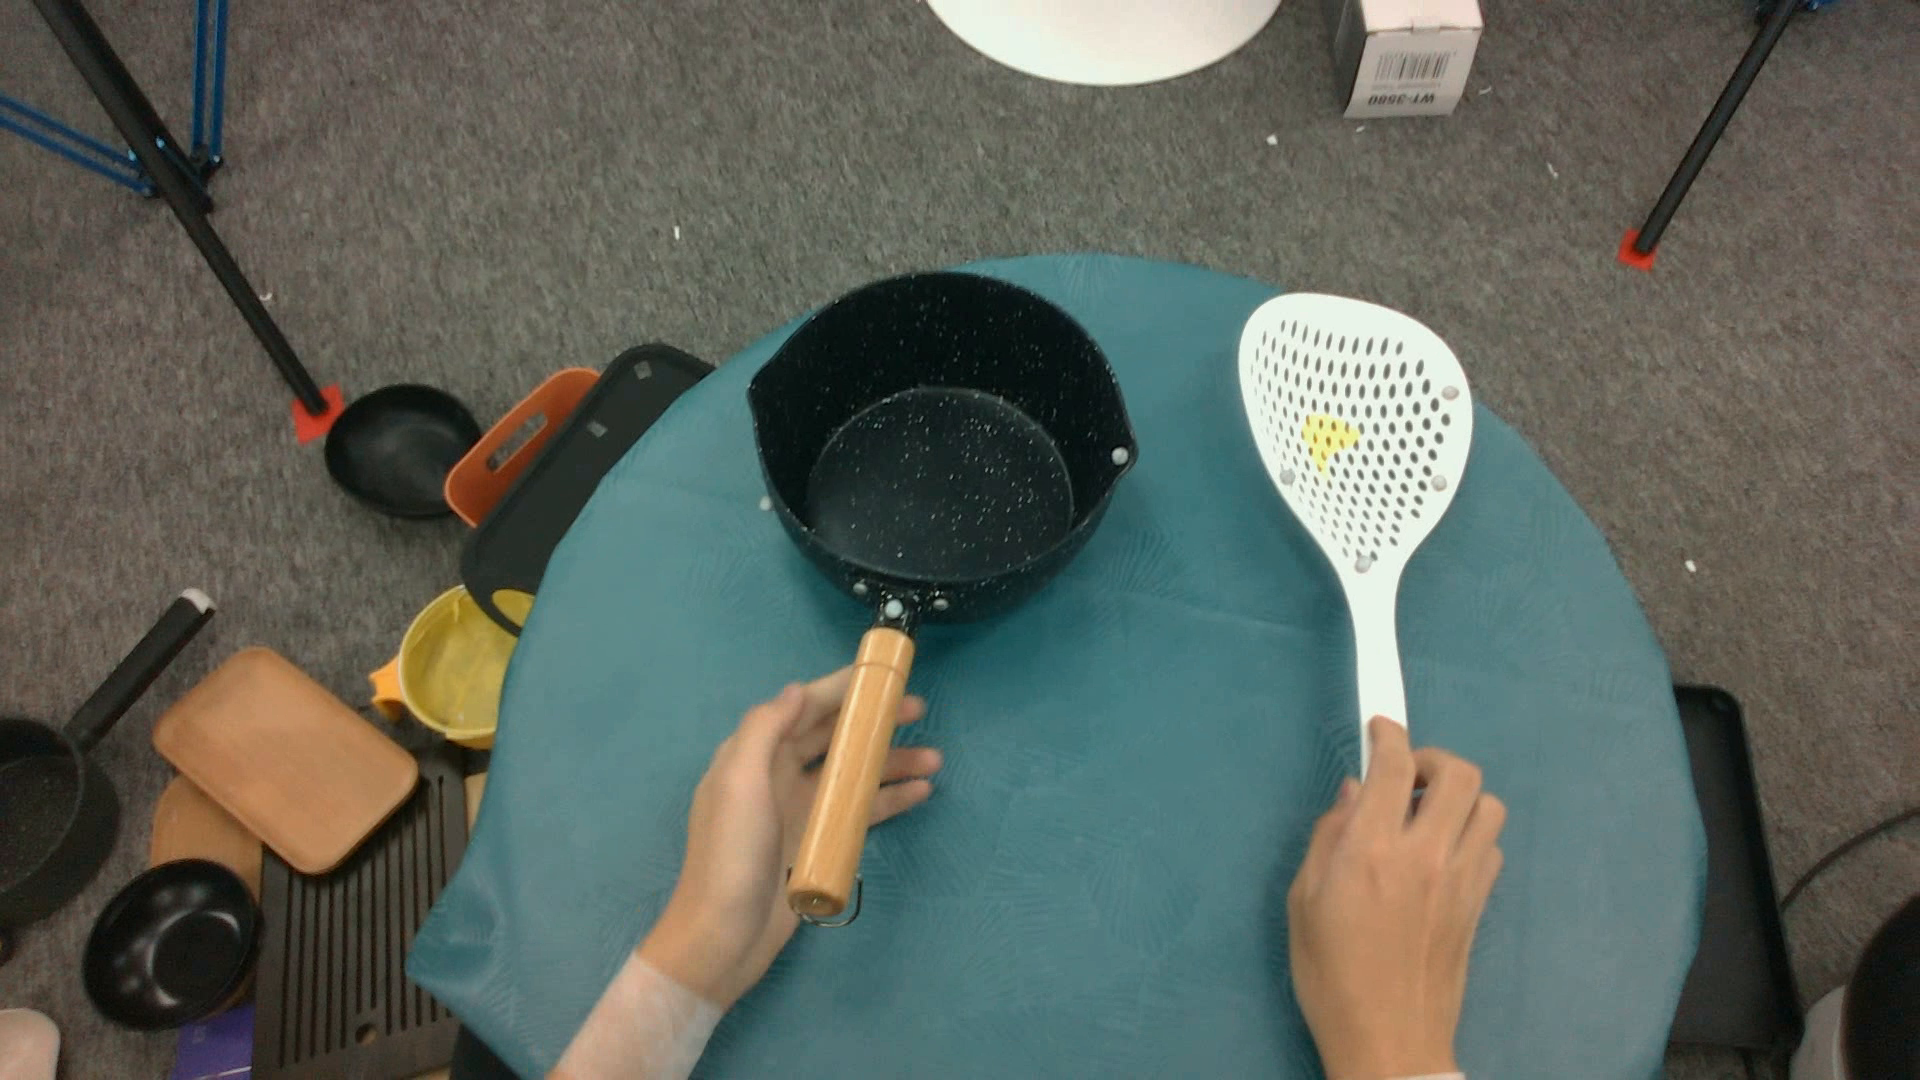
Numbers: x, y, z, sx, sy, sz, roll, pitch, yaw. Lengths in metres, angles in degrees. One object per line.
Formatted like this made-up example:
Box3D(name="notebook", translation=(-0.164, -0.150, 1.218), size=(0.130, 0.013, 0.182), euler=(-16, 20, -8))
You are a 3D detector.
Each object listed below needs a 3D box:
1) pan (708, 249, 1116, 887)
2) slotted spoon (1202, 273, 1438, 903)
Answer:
Box3D(name="pan", translation=(-0.037, 0.012, 0.671), size=(0.207, 0.108, 0.344), euler=(9, 60, 2))
Box3D(name="slotted spoon", translation=(0.193, 0.008, 0.710), size=(0.137, 0.050, 0.349), euler=(7, 57, -10))
